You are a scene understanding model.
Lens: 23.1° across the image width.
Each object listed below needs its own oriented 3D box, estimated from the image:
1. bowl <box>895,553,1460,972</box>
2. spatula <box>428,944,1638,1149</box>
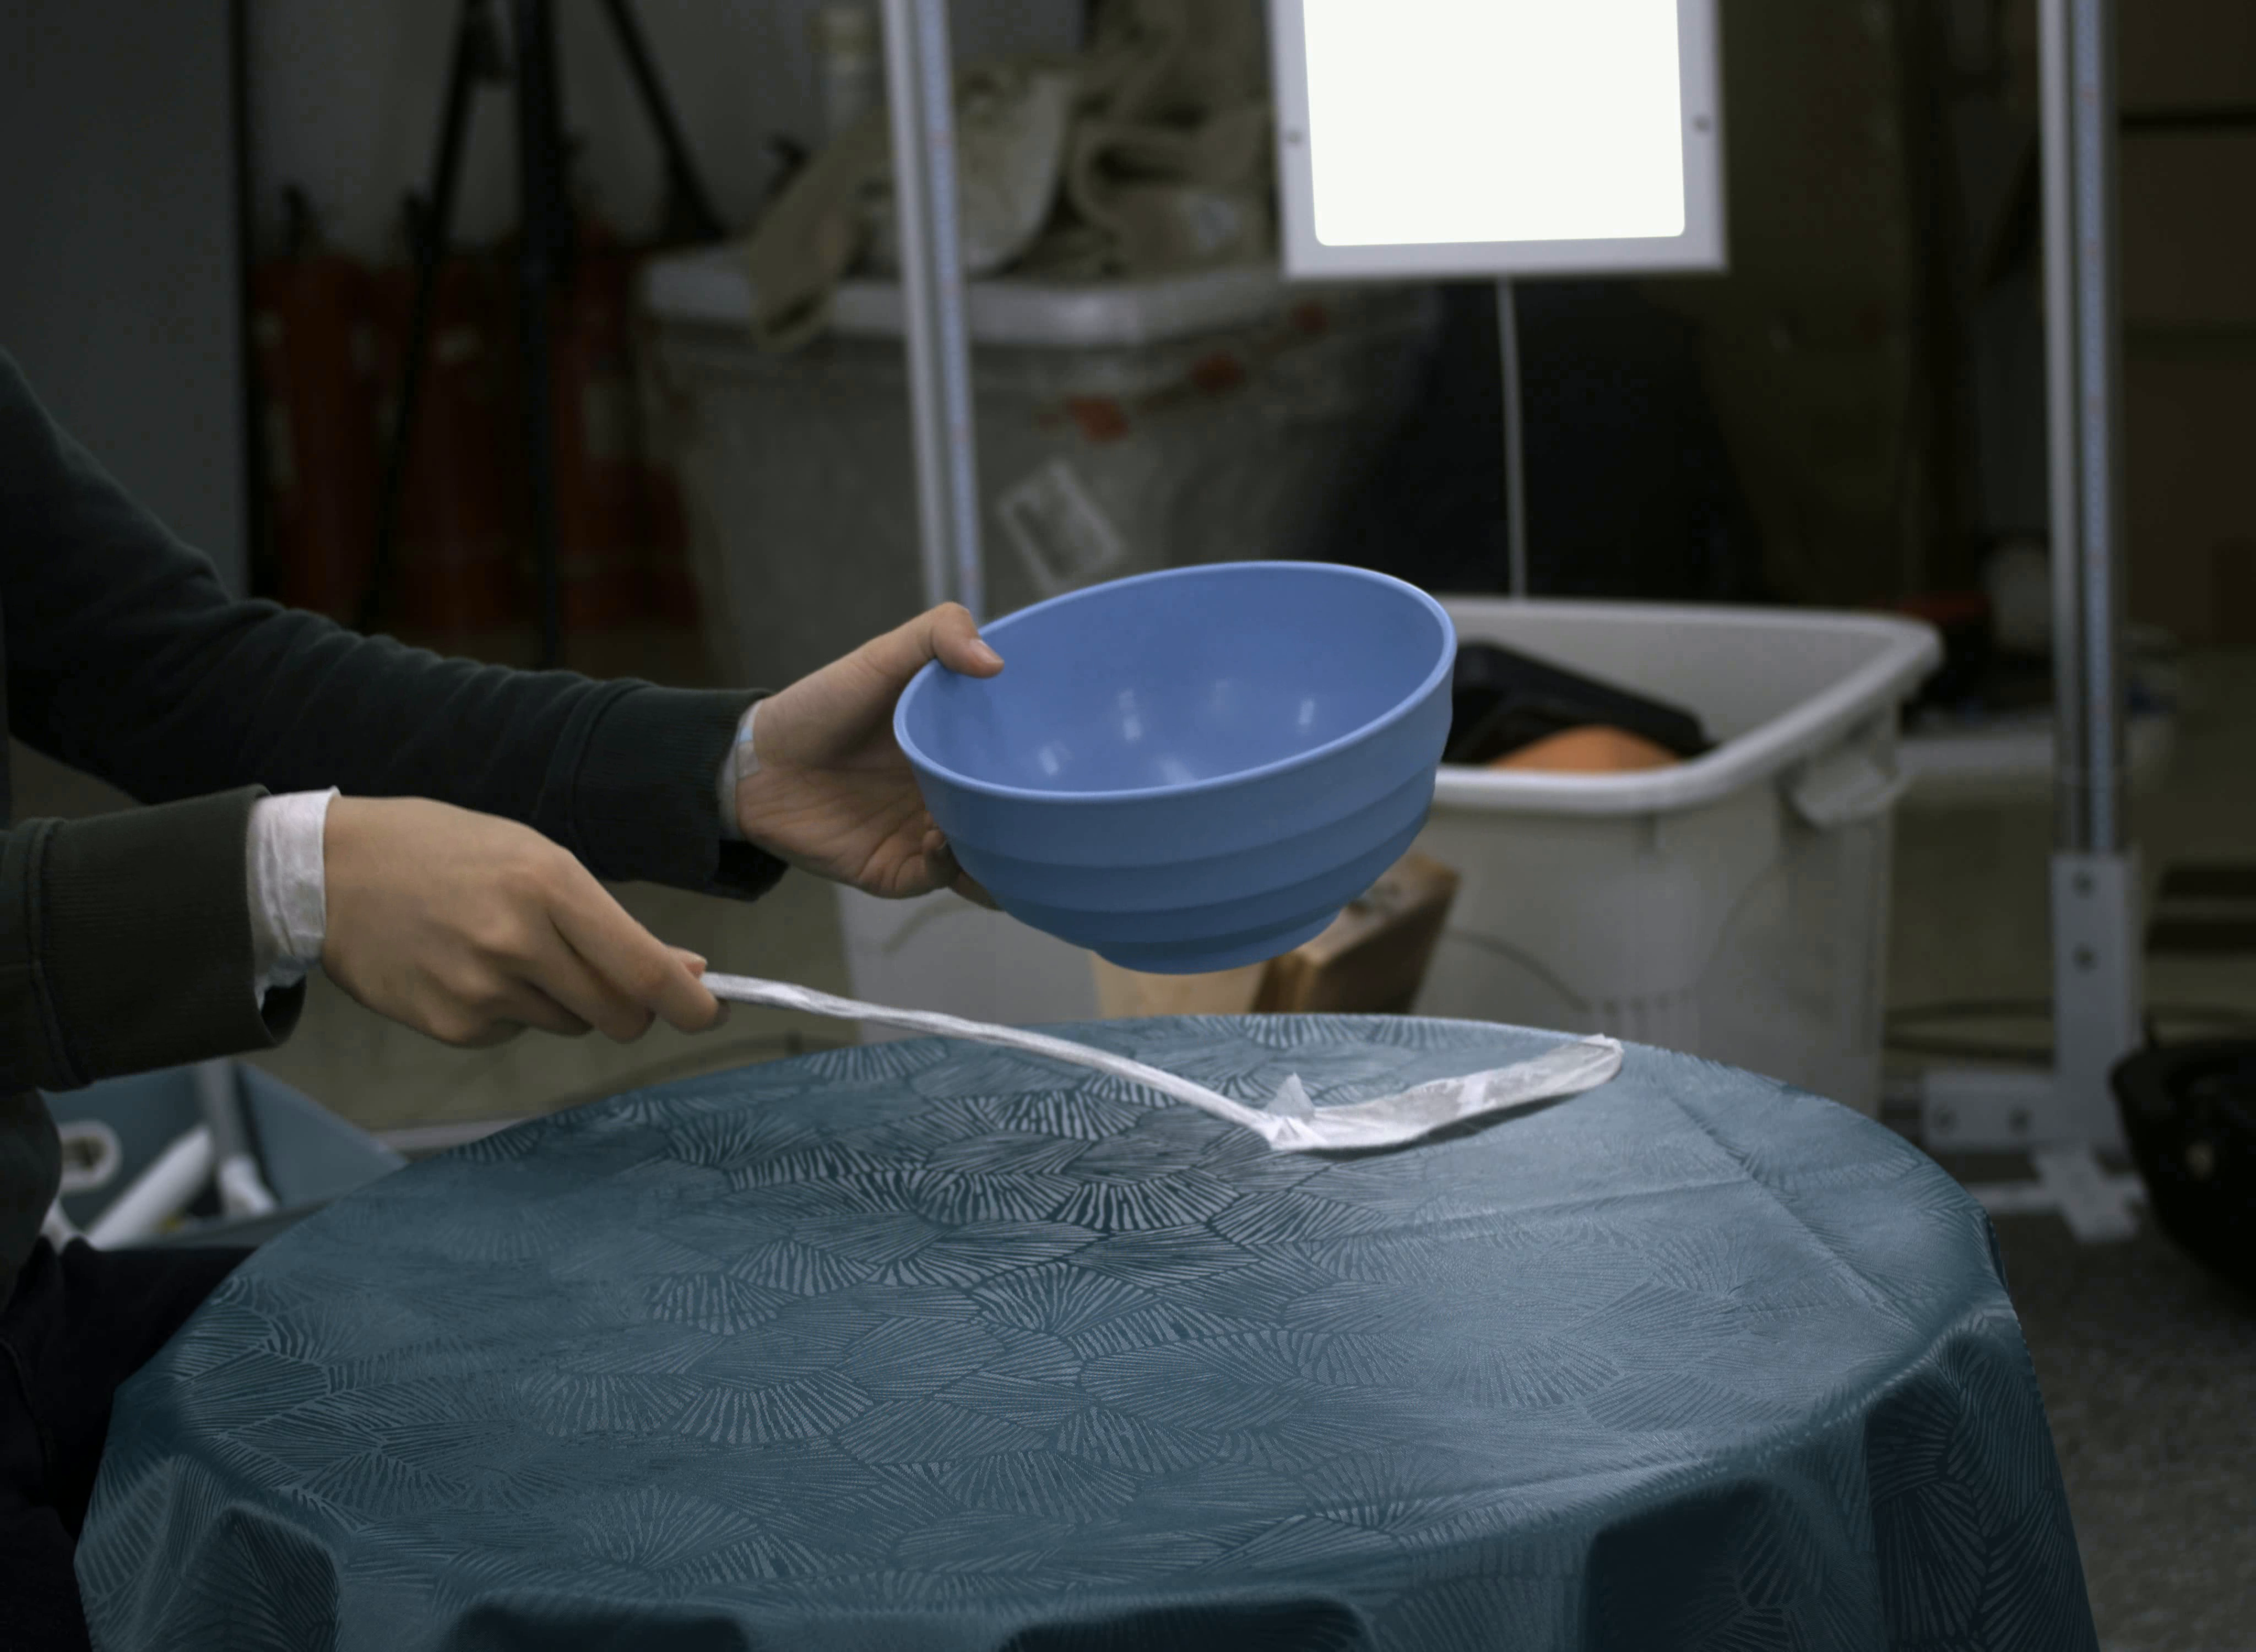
[{"bbox_3d":[0.023,-0.012,1.904,0.196,0.095,0.196,-9,25,3],"label":"bowl"},{"bbox_3d":[-0.036,0.053,1.587,0.368,0.045,0.097,10,12,16],"label":"spatula"}]
